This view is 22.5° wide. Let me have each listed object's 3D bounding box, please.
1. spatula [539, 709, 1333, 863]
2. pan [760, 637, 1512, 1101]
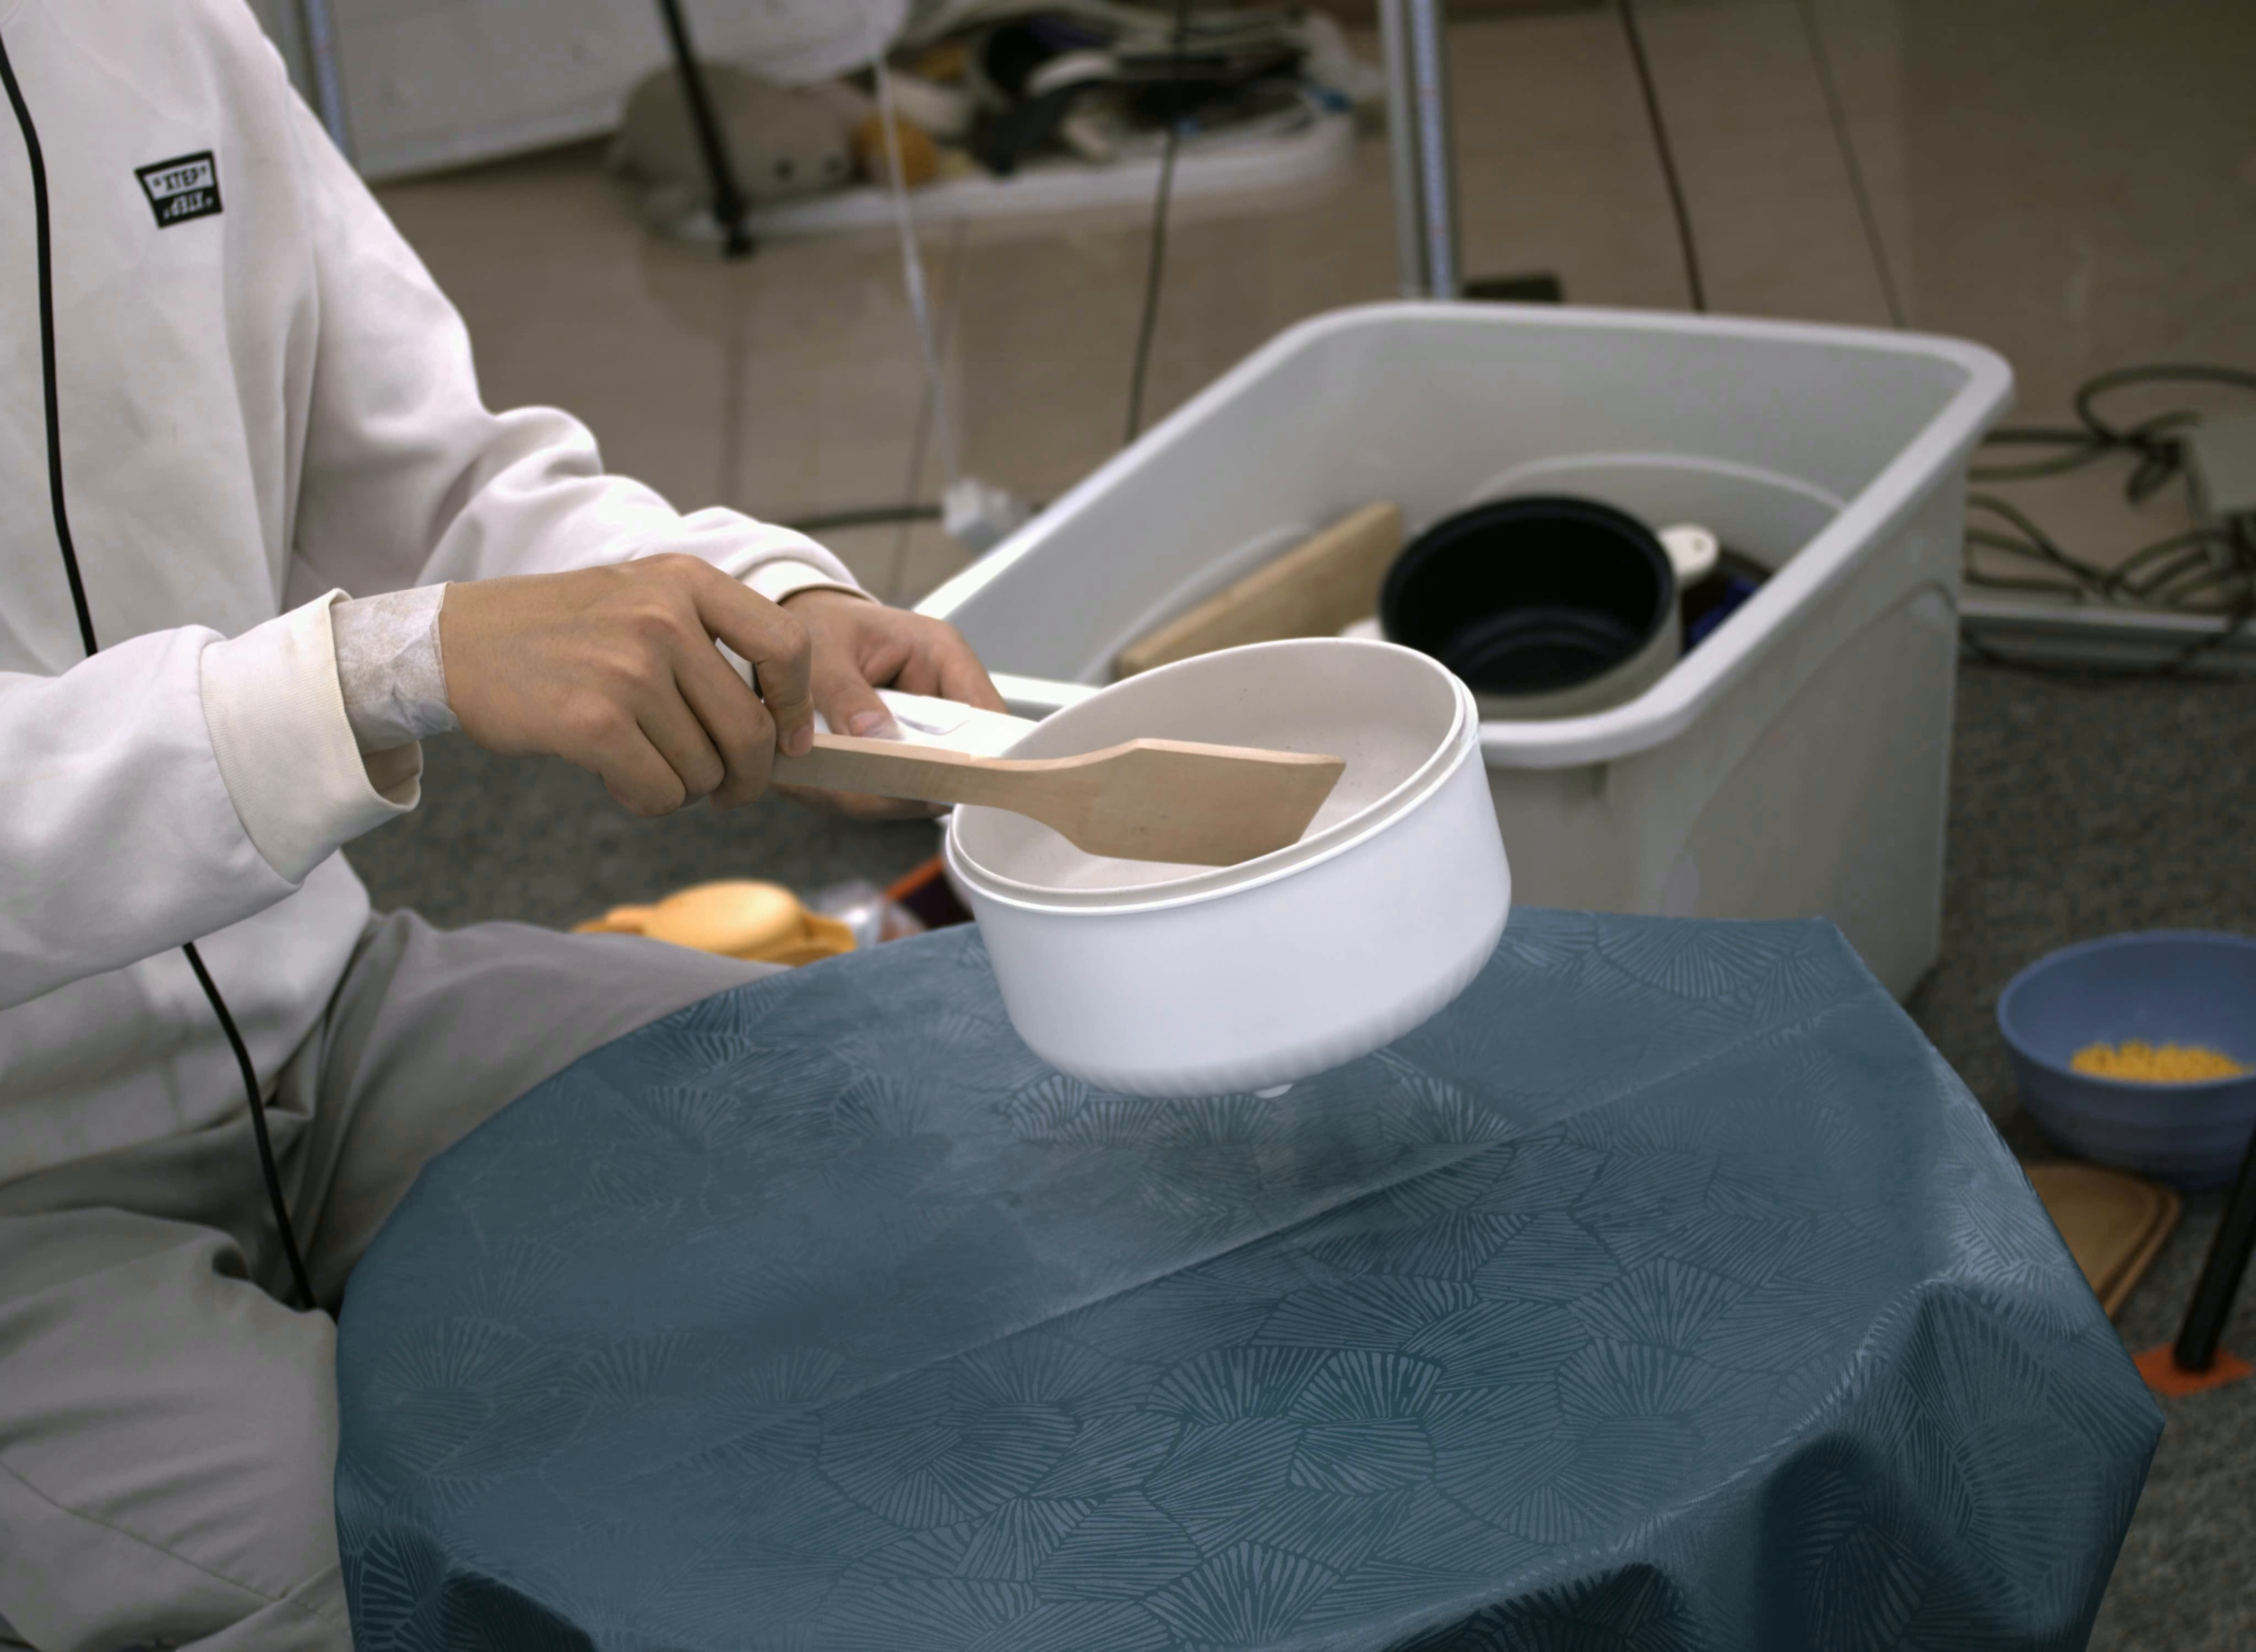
[{"bbox_3d":[-0.070,-0.019,2.042,0.293,0.073,0.010,6,56,-20],"label":"spatula"},{"bbox_3d":[-0.009,0.010,2.146,0.199,0.103,0.353,-35,29,-32],"label":"pan"}]
